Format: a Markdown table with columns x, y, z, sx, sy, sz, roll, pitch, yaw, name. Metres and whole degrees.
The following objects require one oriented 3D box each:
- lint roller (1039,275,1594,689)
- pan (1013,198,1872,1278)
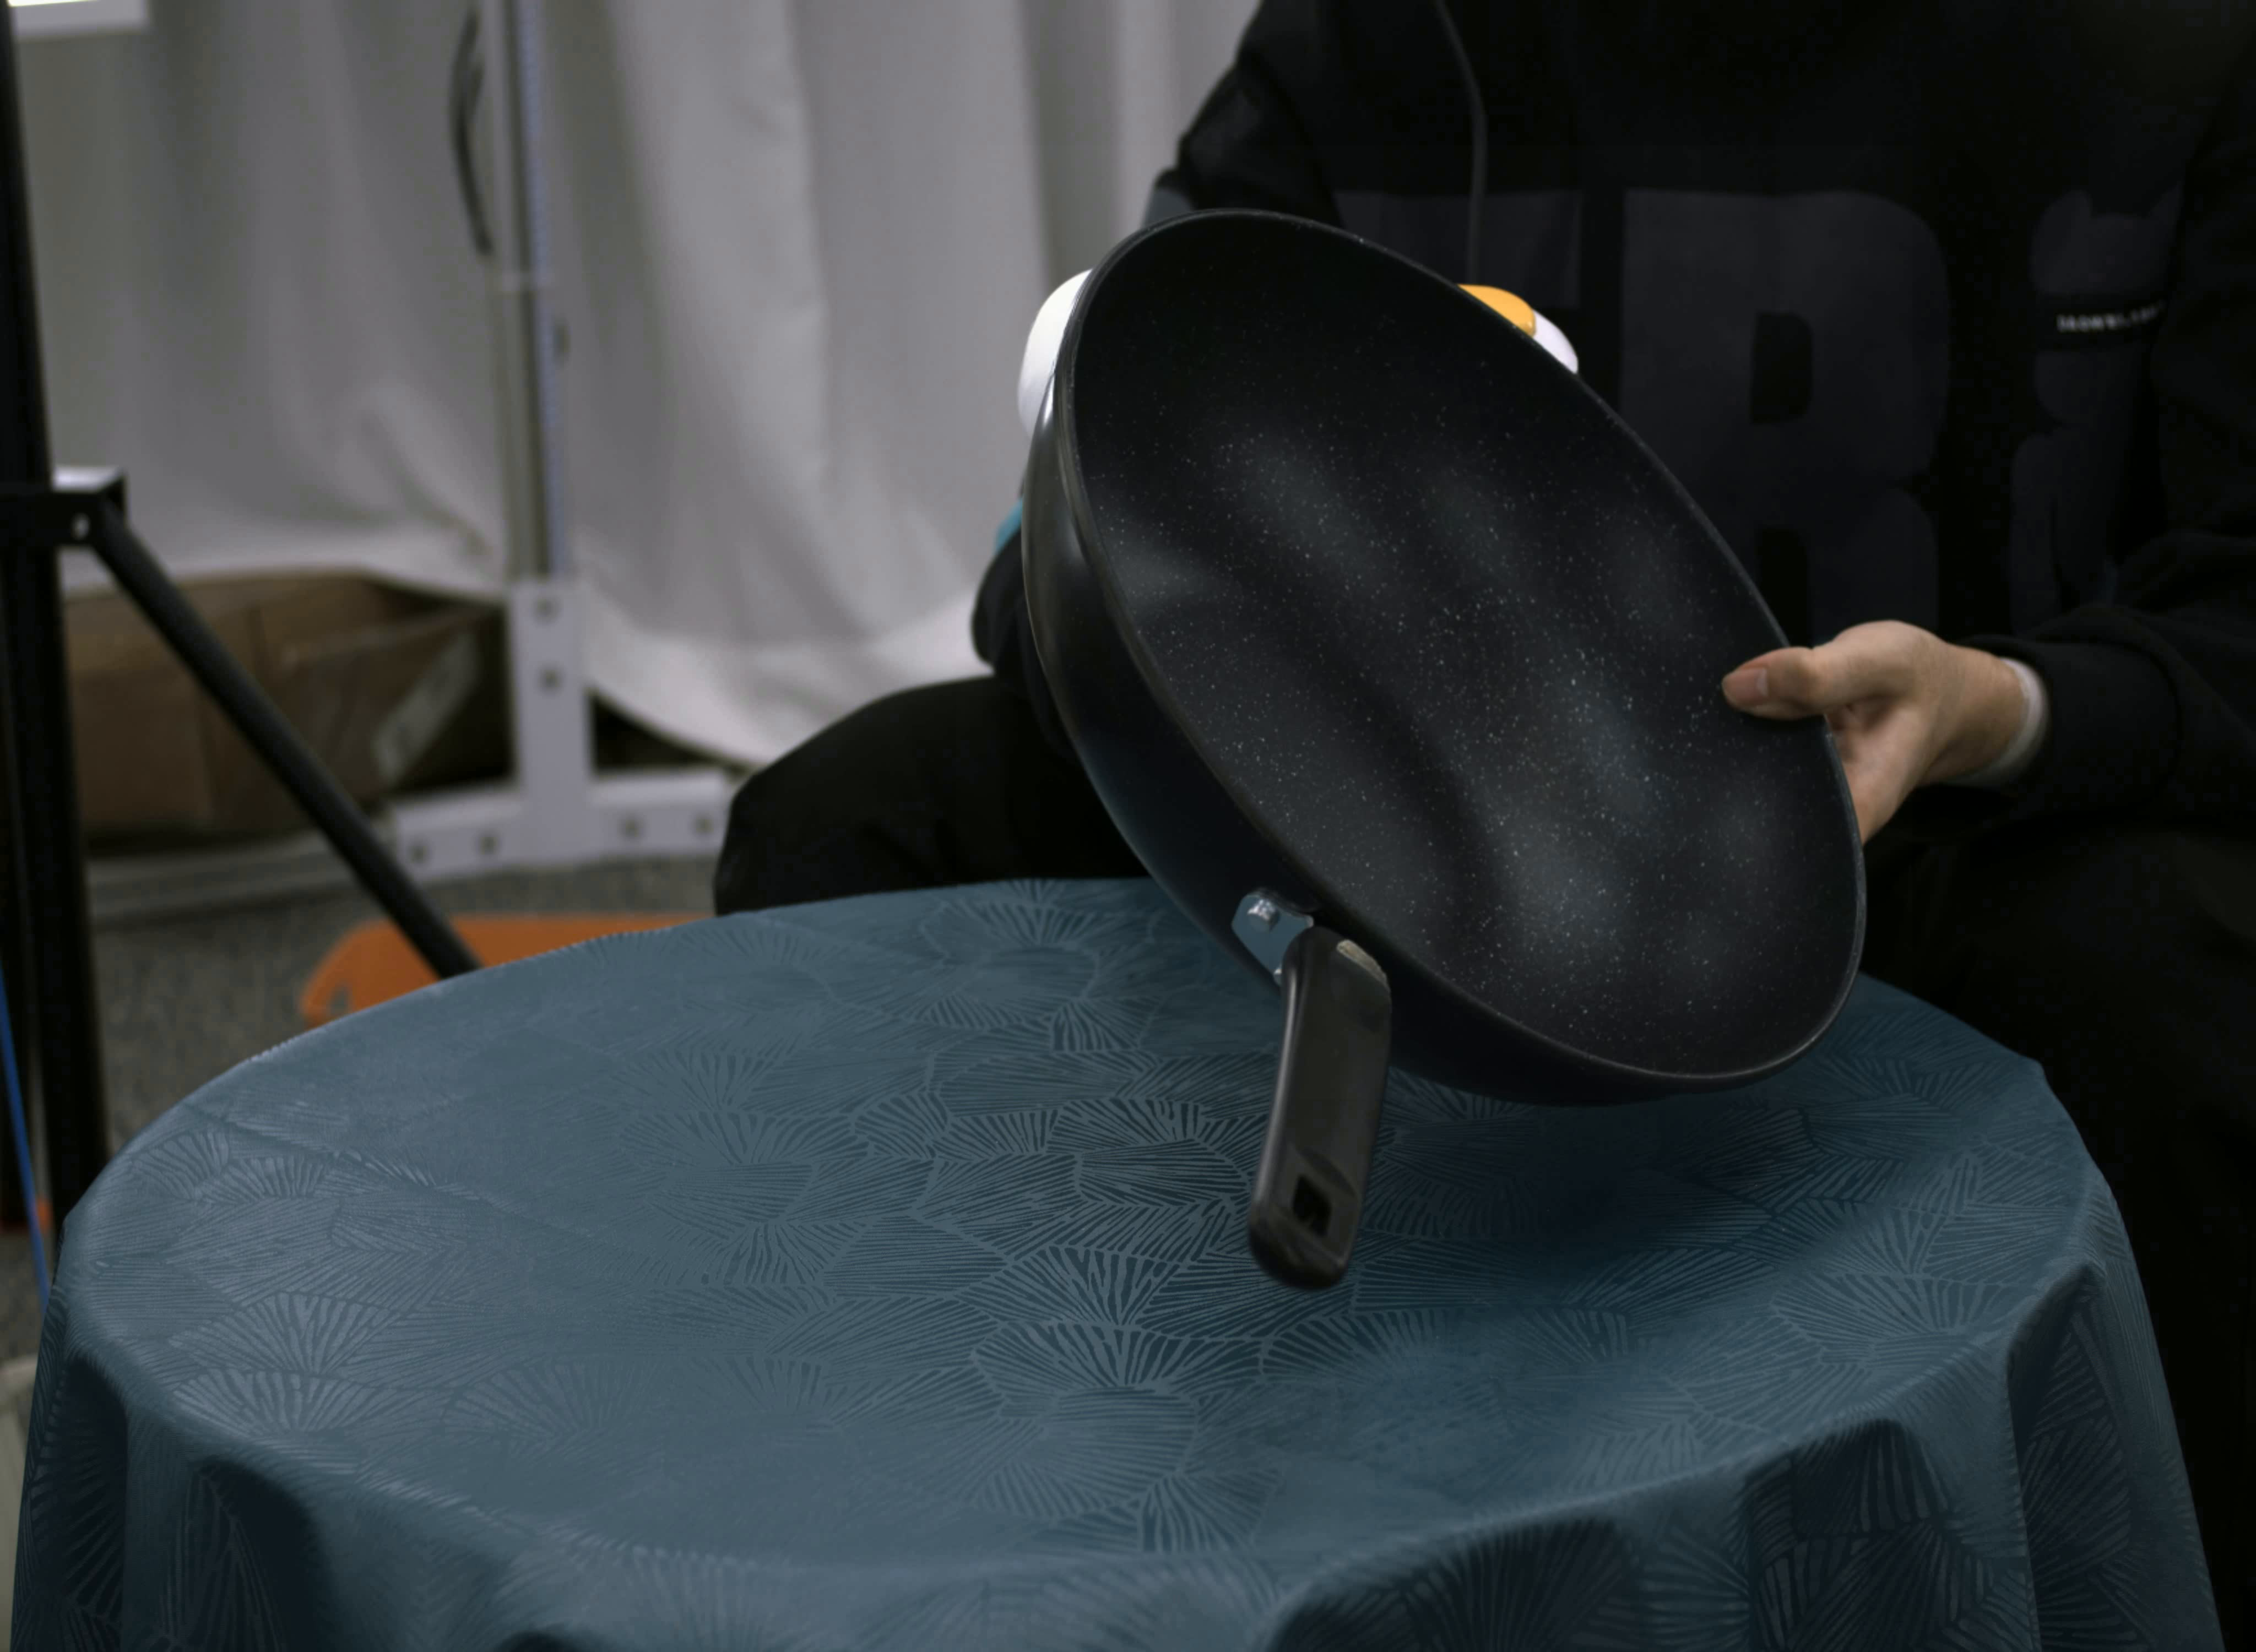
| x | y | z | sx | sy | sz | roll | pitch | yaw | name |
| --- | --- | --- | --- | --- | --- | --- | --- | --- | --- |
| 0.034 | -0.101 | 1.725 | 0.188 | 0.193 | 0.075 | 0 | 44 | -34 | lint roller |
| 0.065 | 0.002 | 1.493 | 0.307 | 0.113 | 0.476 | 38 | 35 | -10 | pan |
